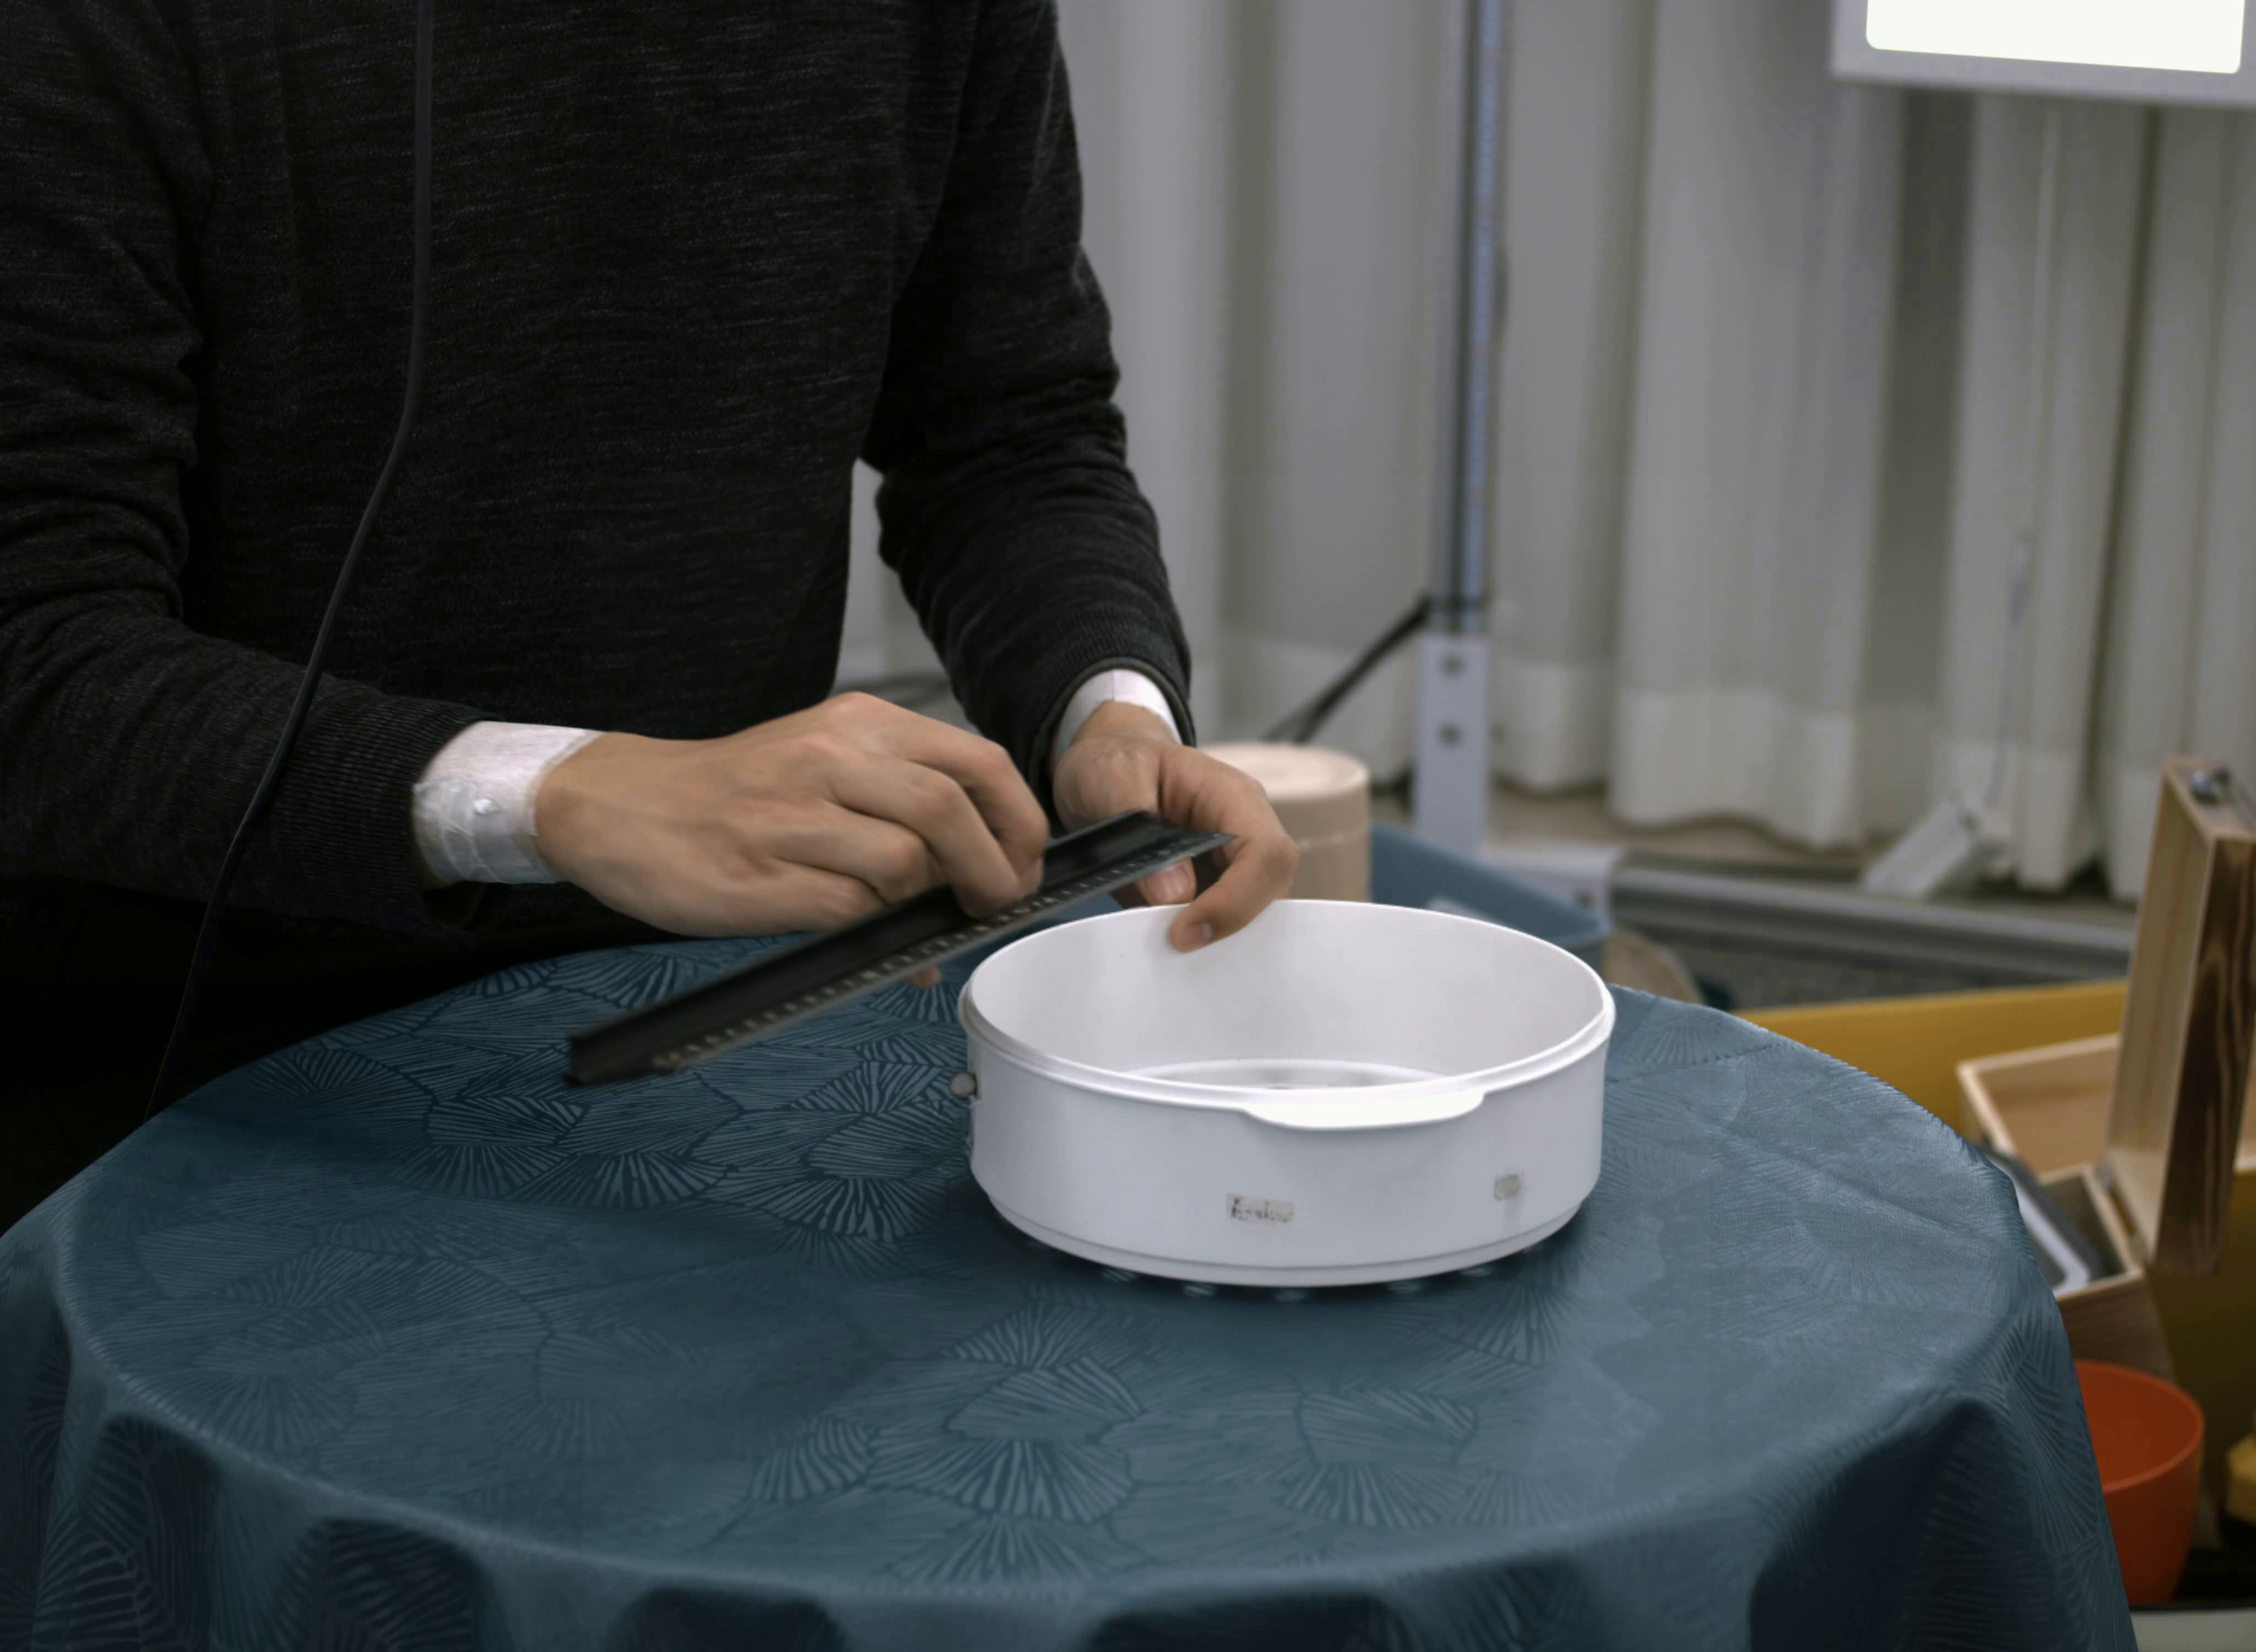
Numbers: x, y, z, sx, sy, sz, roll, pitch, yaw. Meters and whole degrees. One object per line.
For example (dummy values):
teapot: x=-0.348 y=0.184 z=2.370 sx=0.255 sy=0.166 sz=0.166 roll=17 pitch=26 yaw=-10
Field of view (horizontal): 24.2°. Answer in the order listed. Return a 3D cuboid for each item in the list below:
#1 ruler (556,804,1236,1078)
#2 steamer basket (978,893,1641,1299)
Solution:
ruler: x=-0.060 y=0.028 z=1.508 sx=0.039 sy=0.017 sz=0.314 roll=-6 pitch=8 yaw=32
steamer basket: x=0.055 y=0.082 z=1.605 sx=0.202 sy=0.070 sz=0.228 roll=-4 pitch=18 yaw=-14
